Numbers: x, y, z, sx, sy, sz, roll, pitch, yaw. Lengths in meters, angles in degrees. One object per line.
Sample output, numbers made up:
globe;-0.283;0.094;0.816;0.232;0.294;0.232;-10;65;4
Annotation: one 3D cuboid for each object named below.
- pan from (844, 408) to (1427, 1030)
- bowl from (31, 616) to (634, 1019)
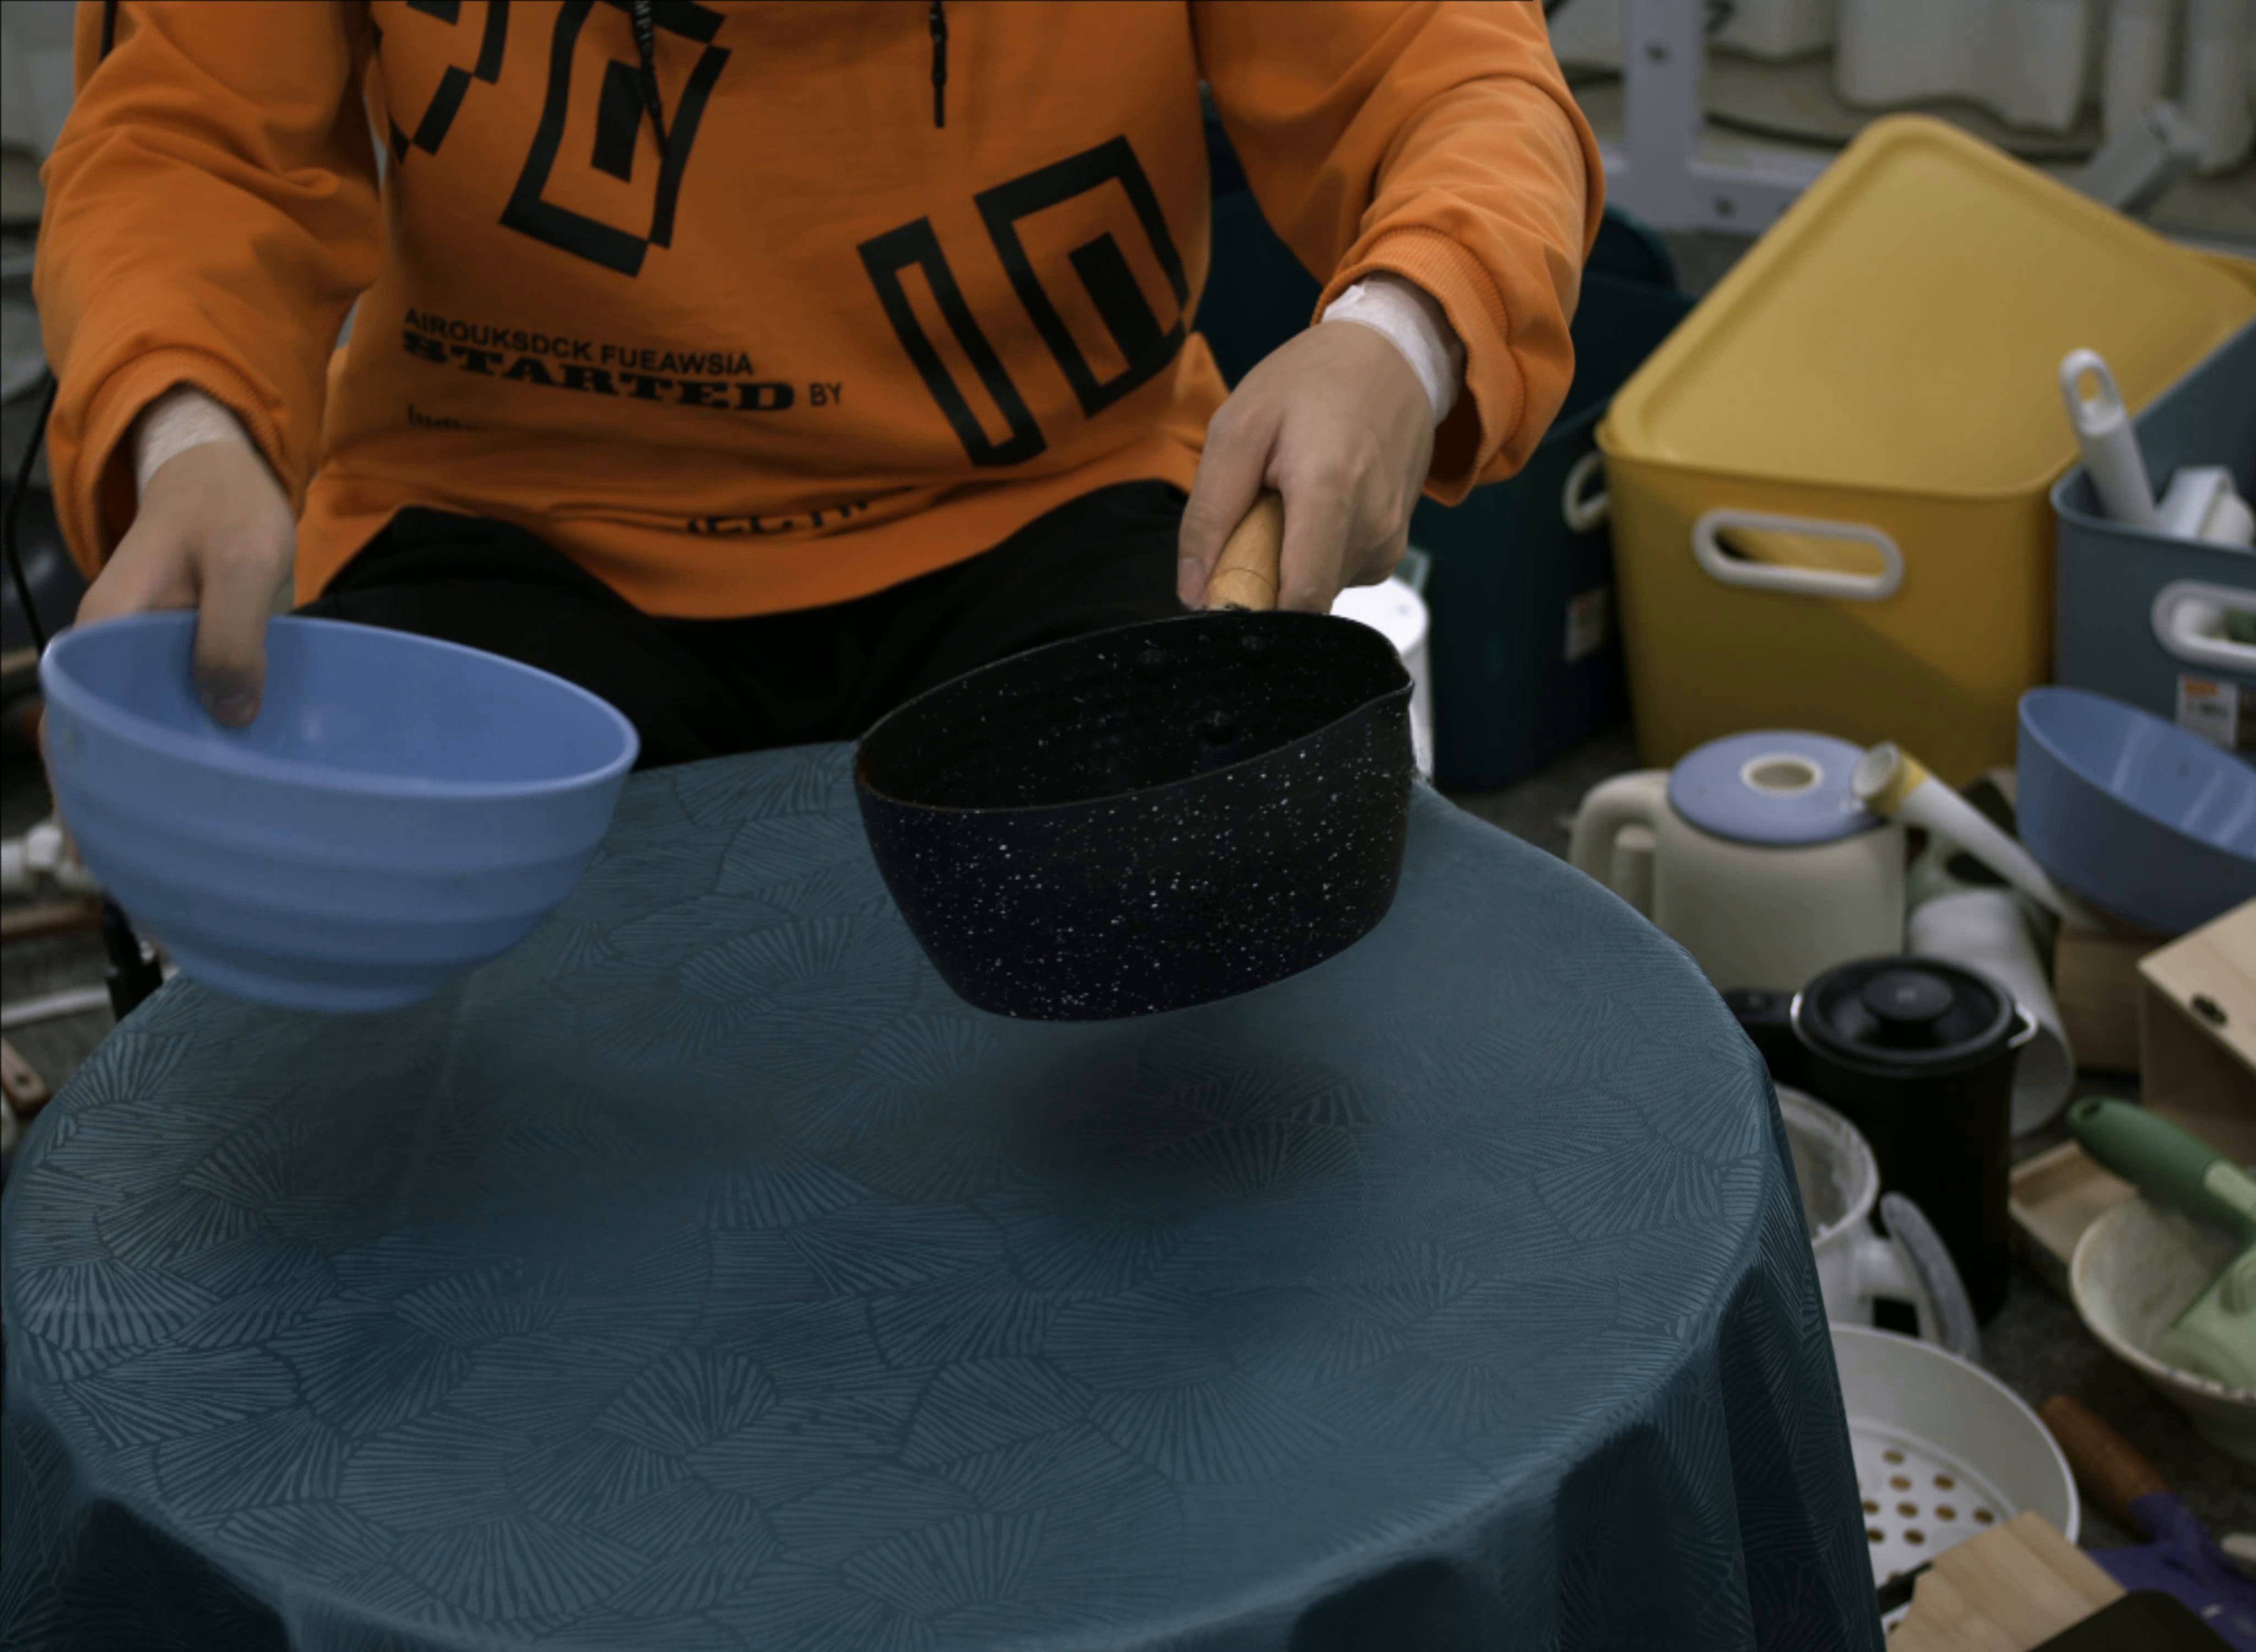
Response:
pan;0.026;-0.040;1.932;0.205;0.107;0.348;-7;20;18
bowl;-0.265;0.004;1.850;0.195;0.095;0.198;8;17;-2
